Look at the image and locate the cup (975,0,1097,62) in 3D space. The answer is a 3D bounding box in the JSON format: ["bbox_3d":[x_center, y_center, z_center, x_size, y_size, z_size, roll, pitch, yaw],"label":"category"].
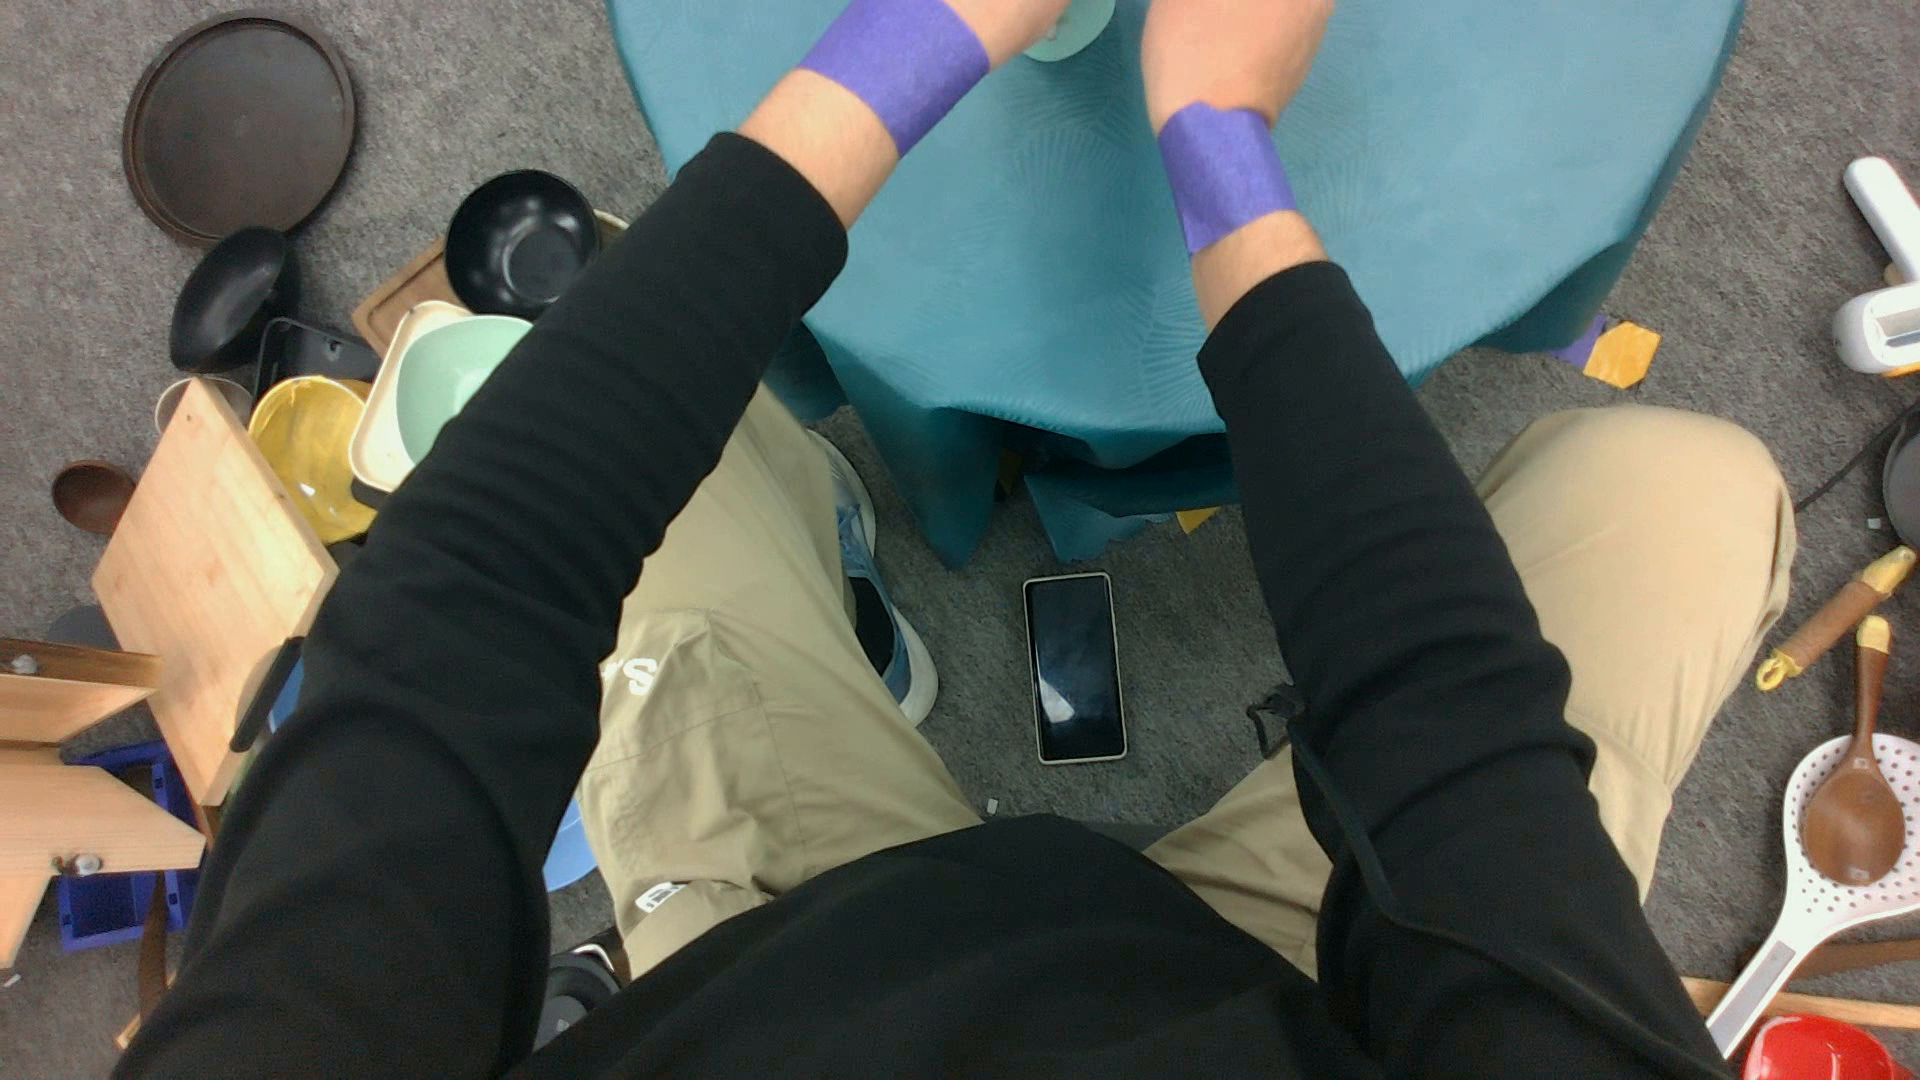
[{"bbox_3d":[0.035,-0.291,0.665,0.067,0.132,0.067,-1,84,6],"label":"cup"}]
